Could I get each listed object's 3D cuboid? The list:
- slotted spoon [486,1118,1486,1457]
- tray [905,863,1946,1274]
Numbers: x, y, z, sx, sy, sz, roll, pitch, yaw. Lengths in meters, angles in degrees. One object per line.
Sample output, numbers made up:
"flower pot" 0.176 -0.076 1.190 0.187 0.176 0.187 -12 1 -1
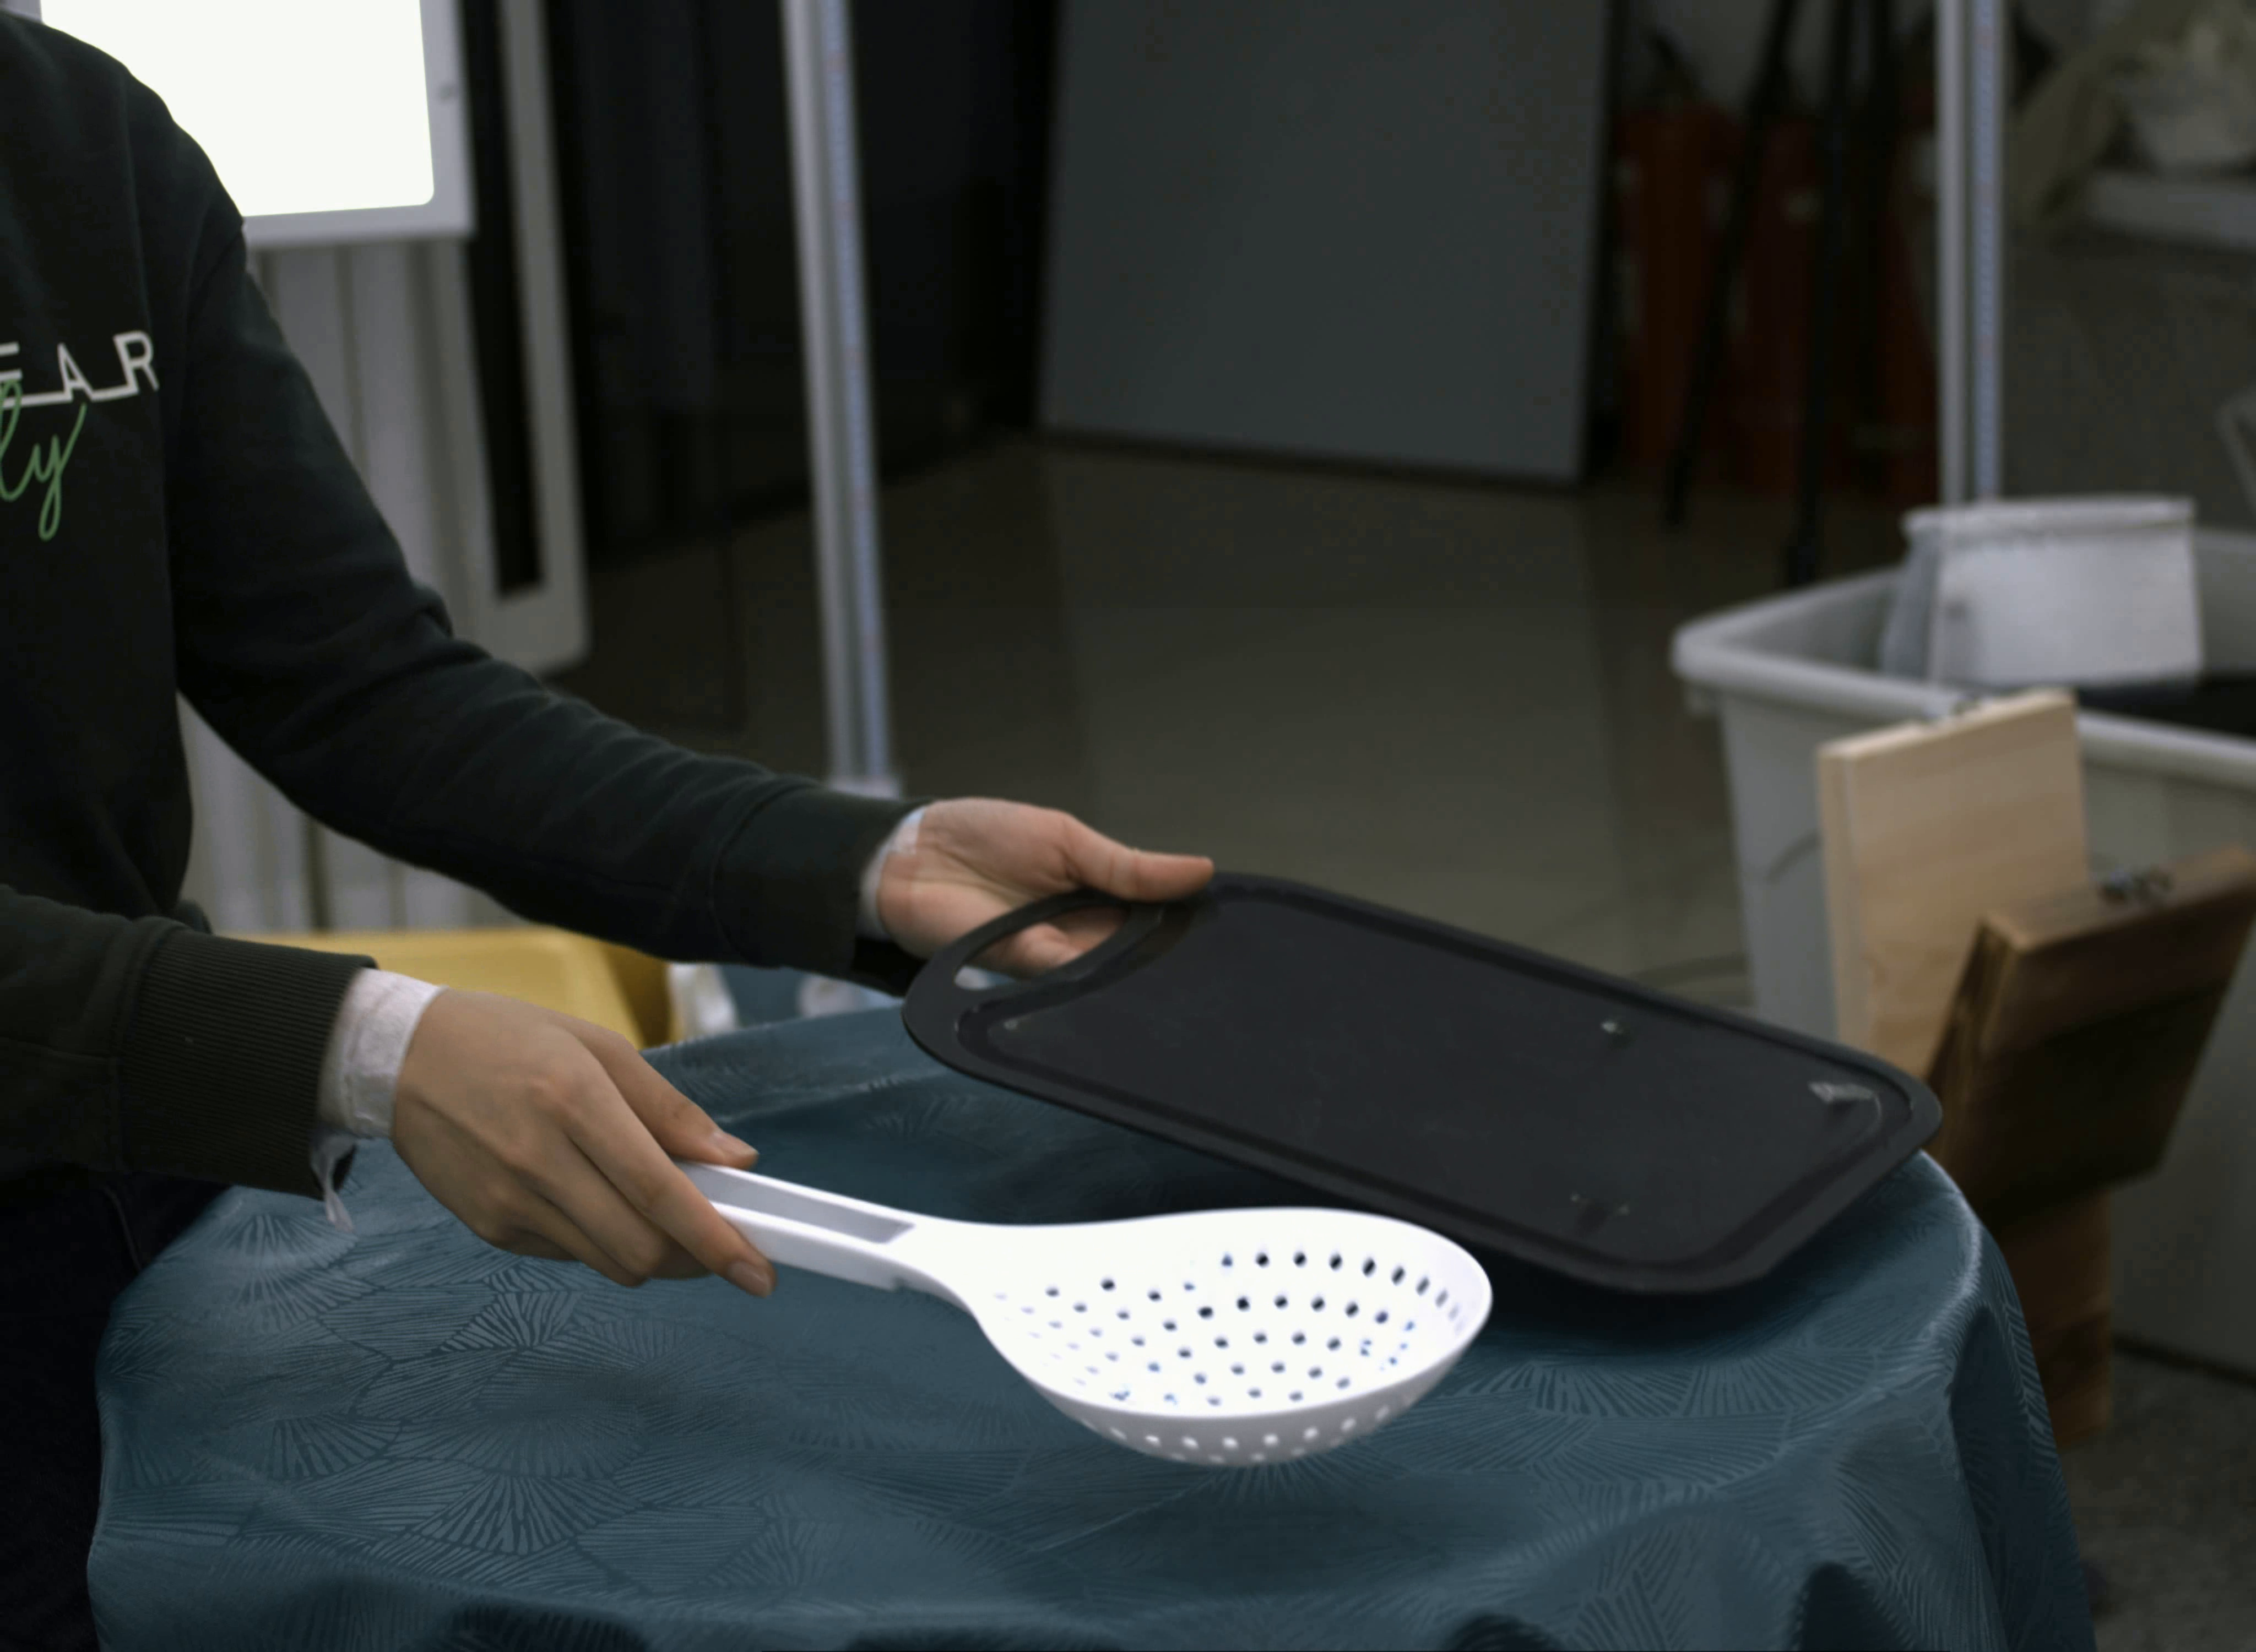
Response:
"slotted spoon" -0.052 0.121 1.540 0.352 0.046 0.133 14 27 36
"tray" 0.088 0.070 1.729 0.327 0.010 0.208 16 25 29
